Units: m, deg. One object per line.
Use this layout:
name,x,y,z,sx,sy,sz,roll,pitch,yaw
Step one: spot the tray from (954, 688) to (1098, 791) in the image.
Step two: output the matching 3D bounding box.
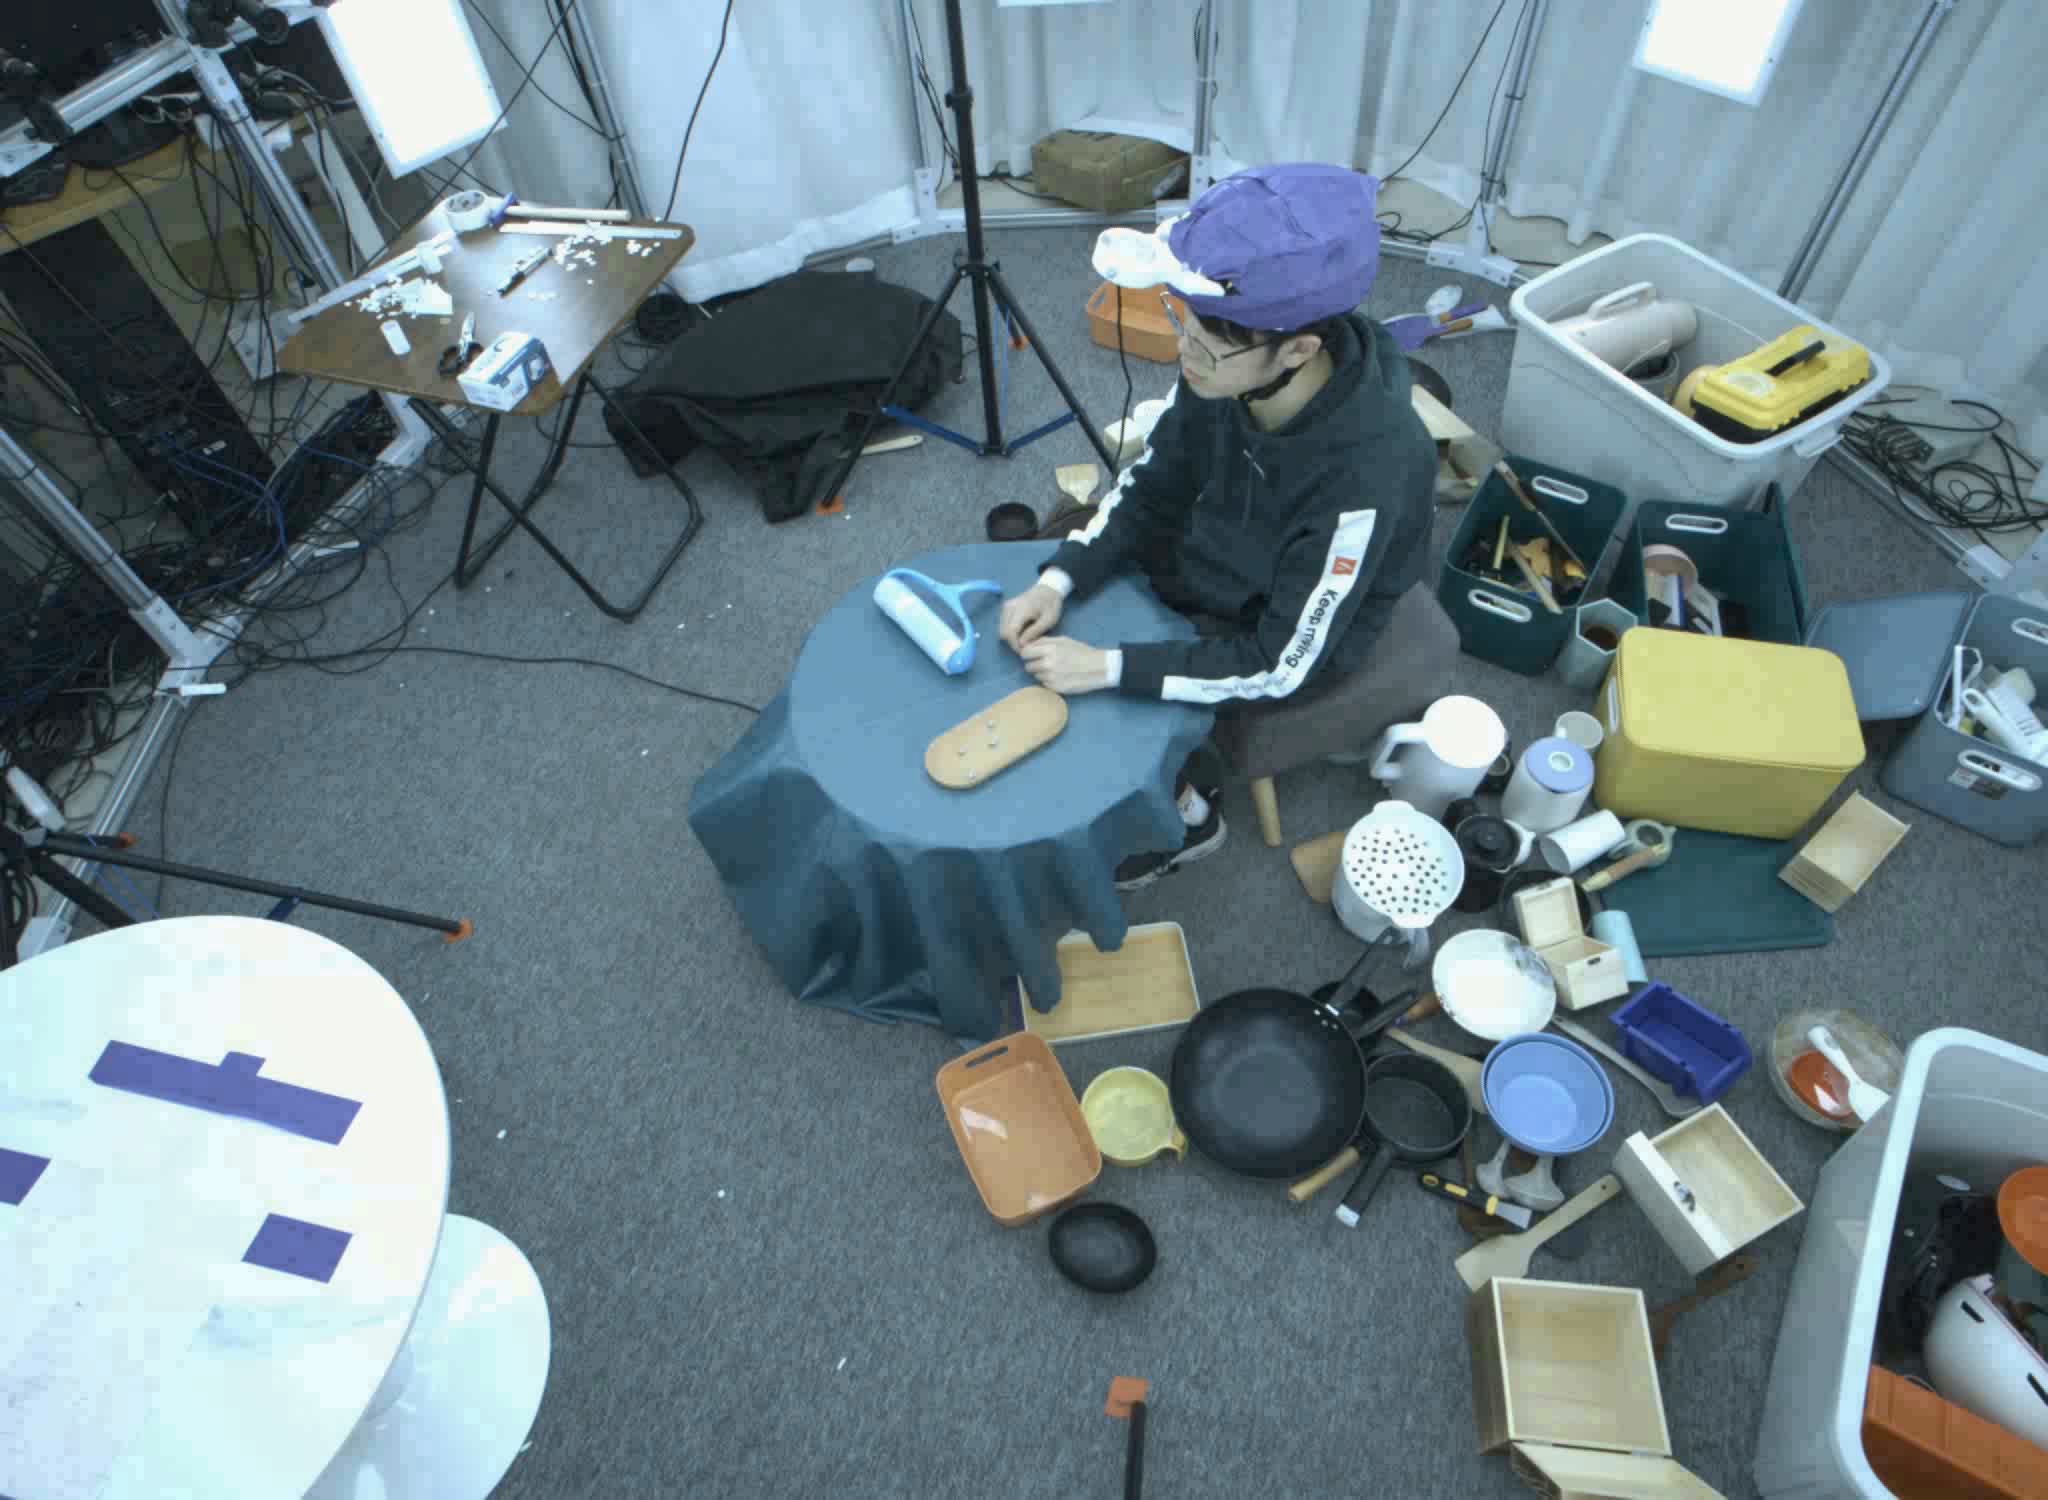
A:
tray,0.004,-0.015,1.784,0.233,0.020,0.100,-30,60,-20

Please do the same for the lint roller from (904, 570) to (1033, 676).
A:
lint roller,-0.065,-0.224,1.909,0.181,0.069,0.224,-35,59,-20
